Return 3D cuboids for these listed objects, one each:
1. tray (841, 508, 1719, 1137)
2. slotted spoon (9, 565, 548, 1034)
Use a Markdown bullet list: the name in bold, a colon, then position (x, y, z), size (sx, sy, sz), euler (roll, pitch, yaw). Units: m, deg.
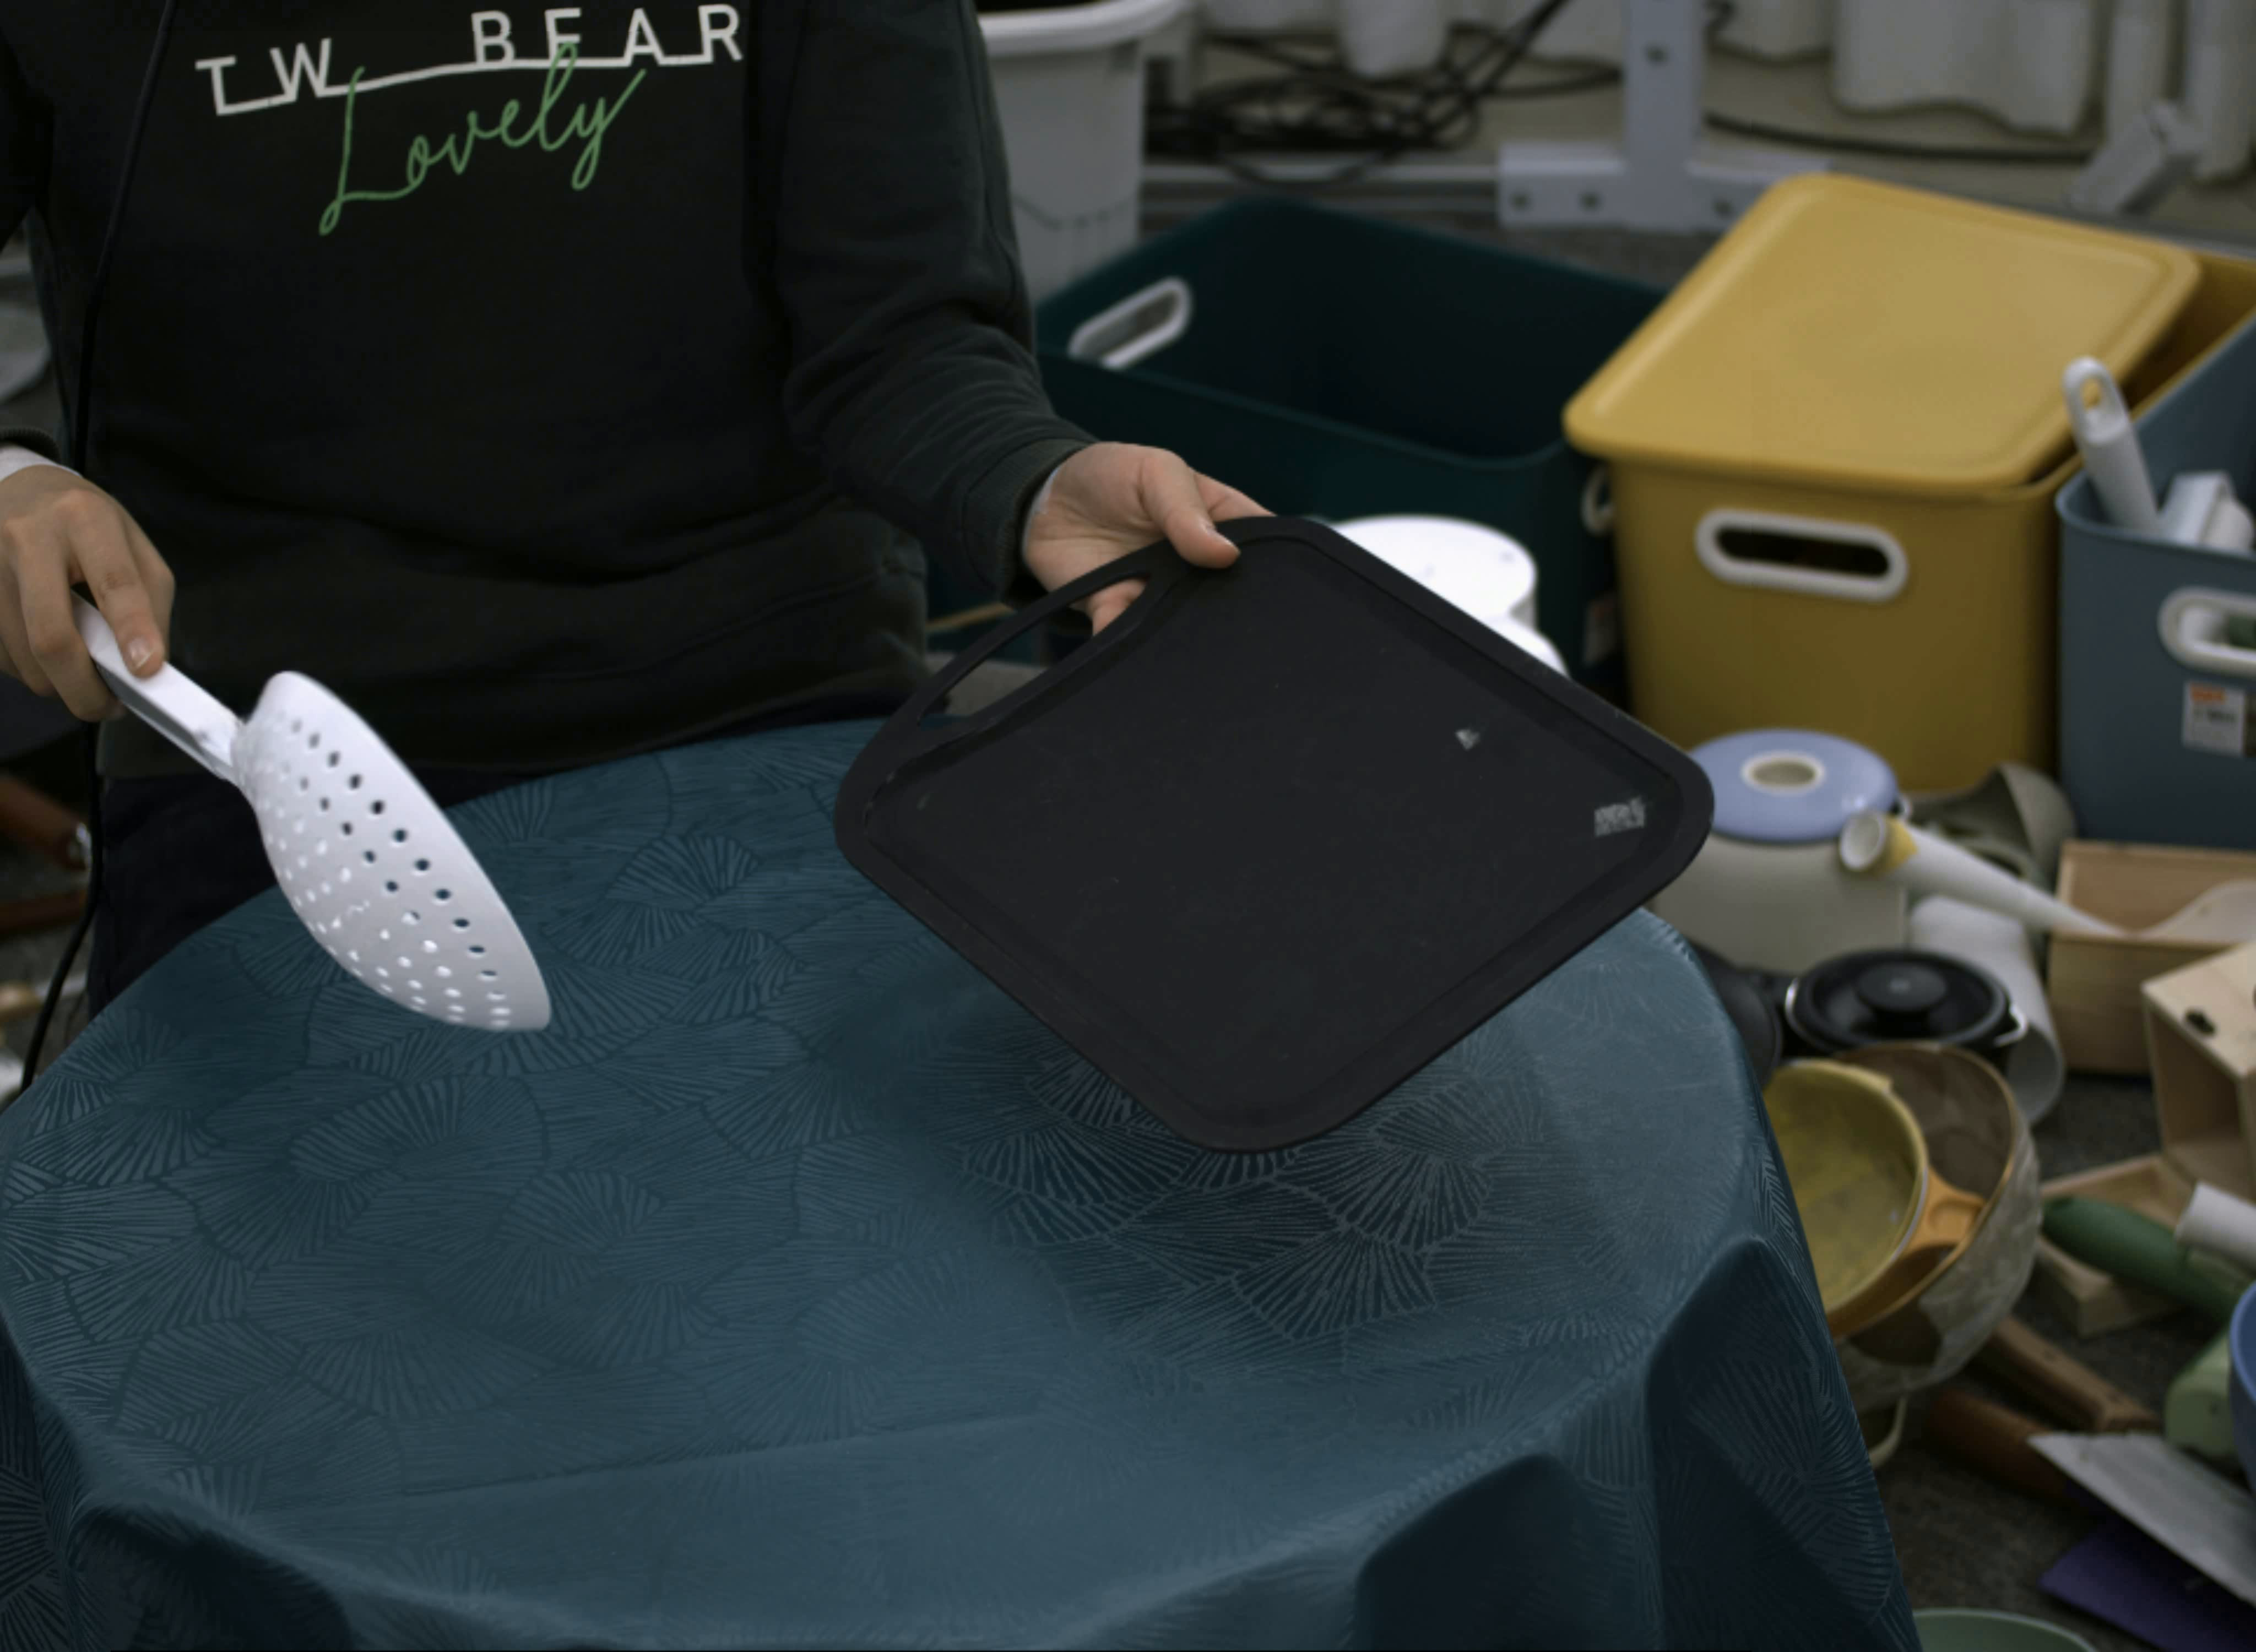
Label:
- **tray**: position (0.039, -0.011, 1.865), size (0.212, 0.009, 0.327), euler (-35, 37, -15)
- **slotted spoon**: position (-0.284, -0.024, 1.820), size (0.046, 0.134, 0.351), euler (-30, 33, -17)
